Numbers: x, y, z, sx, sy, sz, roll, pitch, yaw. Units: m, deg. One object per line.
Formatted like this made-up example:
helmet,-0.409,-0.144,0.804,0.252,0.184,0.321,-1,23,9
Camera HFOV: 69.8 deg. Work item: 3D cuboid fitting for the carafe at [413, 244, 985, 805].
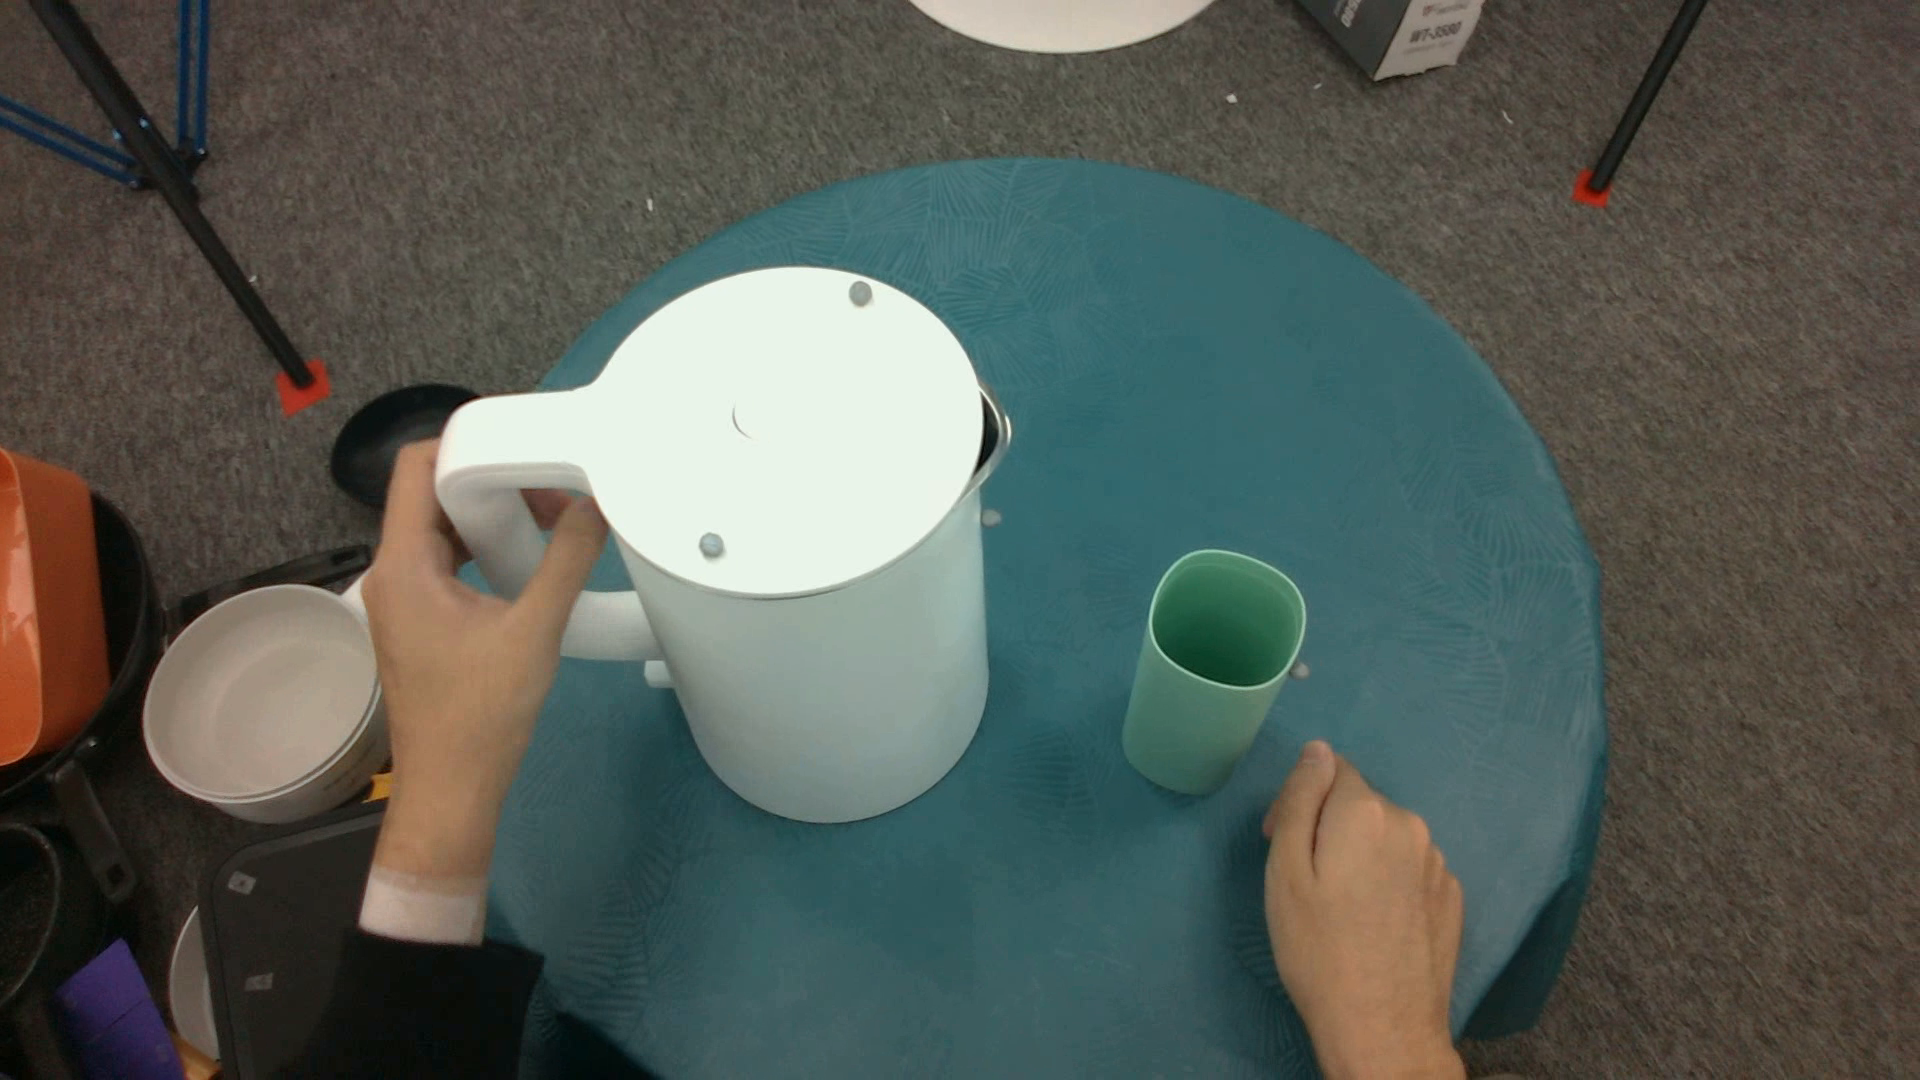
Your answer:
carafe,-0.098,0.003,0.593,0.213,0.239,0.152,-1,60,-2

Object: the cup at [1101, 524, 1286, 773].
cup,0.102,0.054,0.626,0.067,0.132,0.067,1,60,-1
